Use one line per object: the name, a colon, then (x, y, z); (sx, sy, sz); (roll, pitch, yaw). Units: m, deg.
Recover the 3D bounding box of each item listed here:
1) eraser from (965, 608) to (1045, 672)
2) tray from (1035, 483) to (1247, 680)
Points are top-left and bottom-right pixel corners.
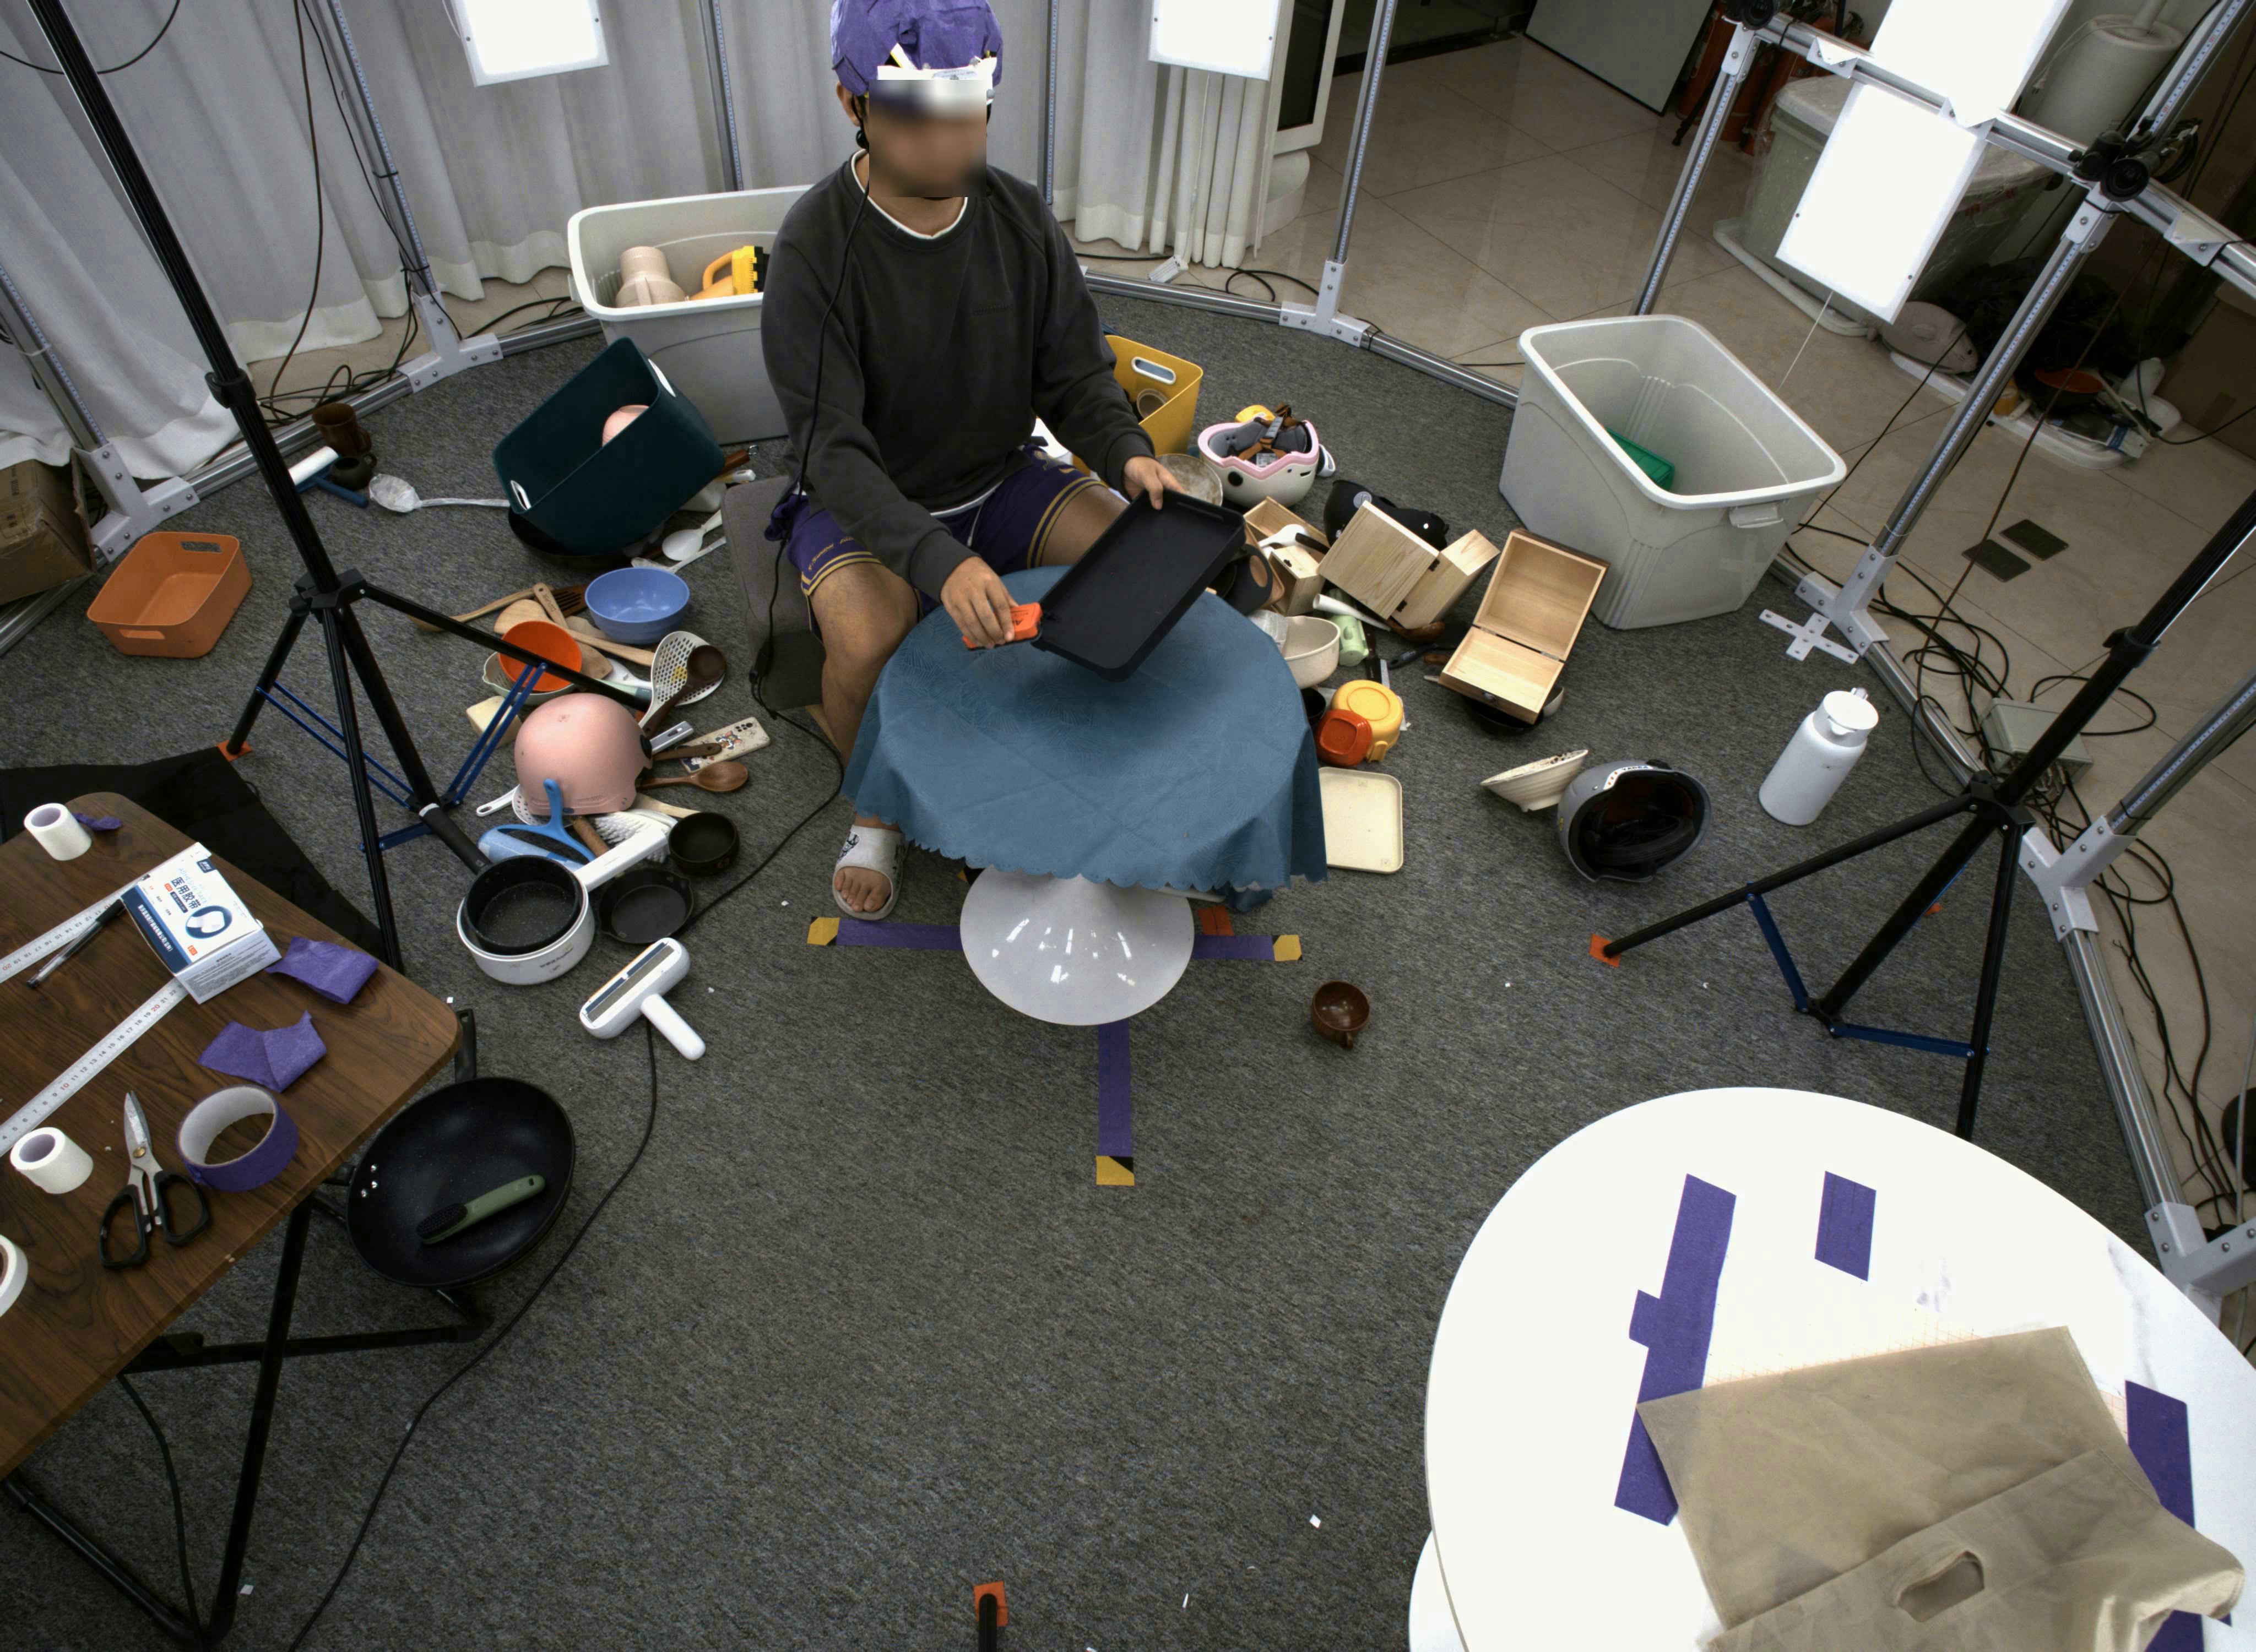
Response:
eraser: (-0.167, -0.254, 1.749); (0.108, 0.022, 0.060); (-24, 44, 9)
tray: (0.015, -0.348, 1.803); (0.186, 0.036, 0.321); (24, 65, 31)
